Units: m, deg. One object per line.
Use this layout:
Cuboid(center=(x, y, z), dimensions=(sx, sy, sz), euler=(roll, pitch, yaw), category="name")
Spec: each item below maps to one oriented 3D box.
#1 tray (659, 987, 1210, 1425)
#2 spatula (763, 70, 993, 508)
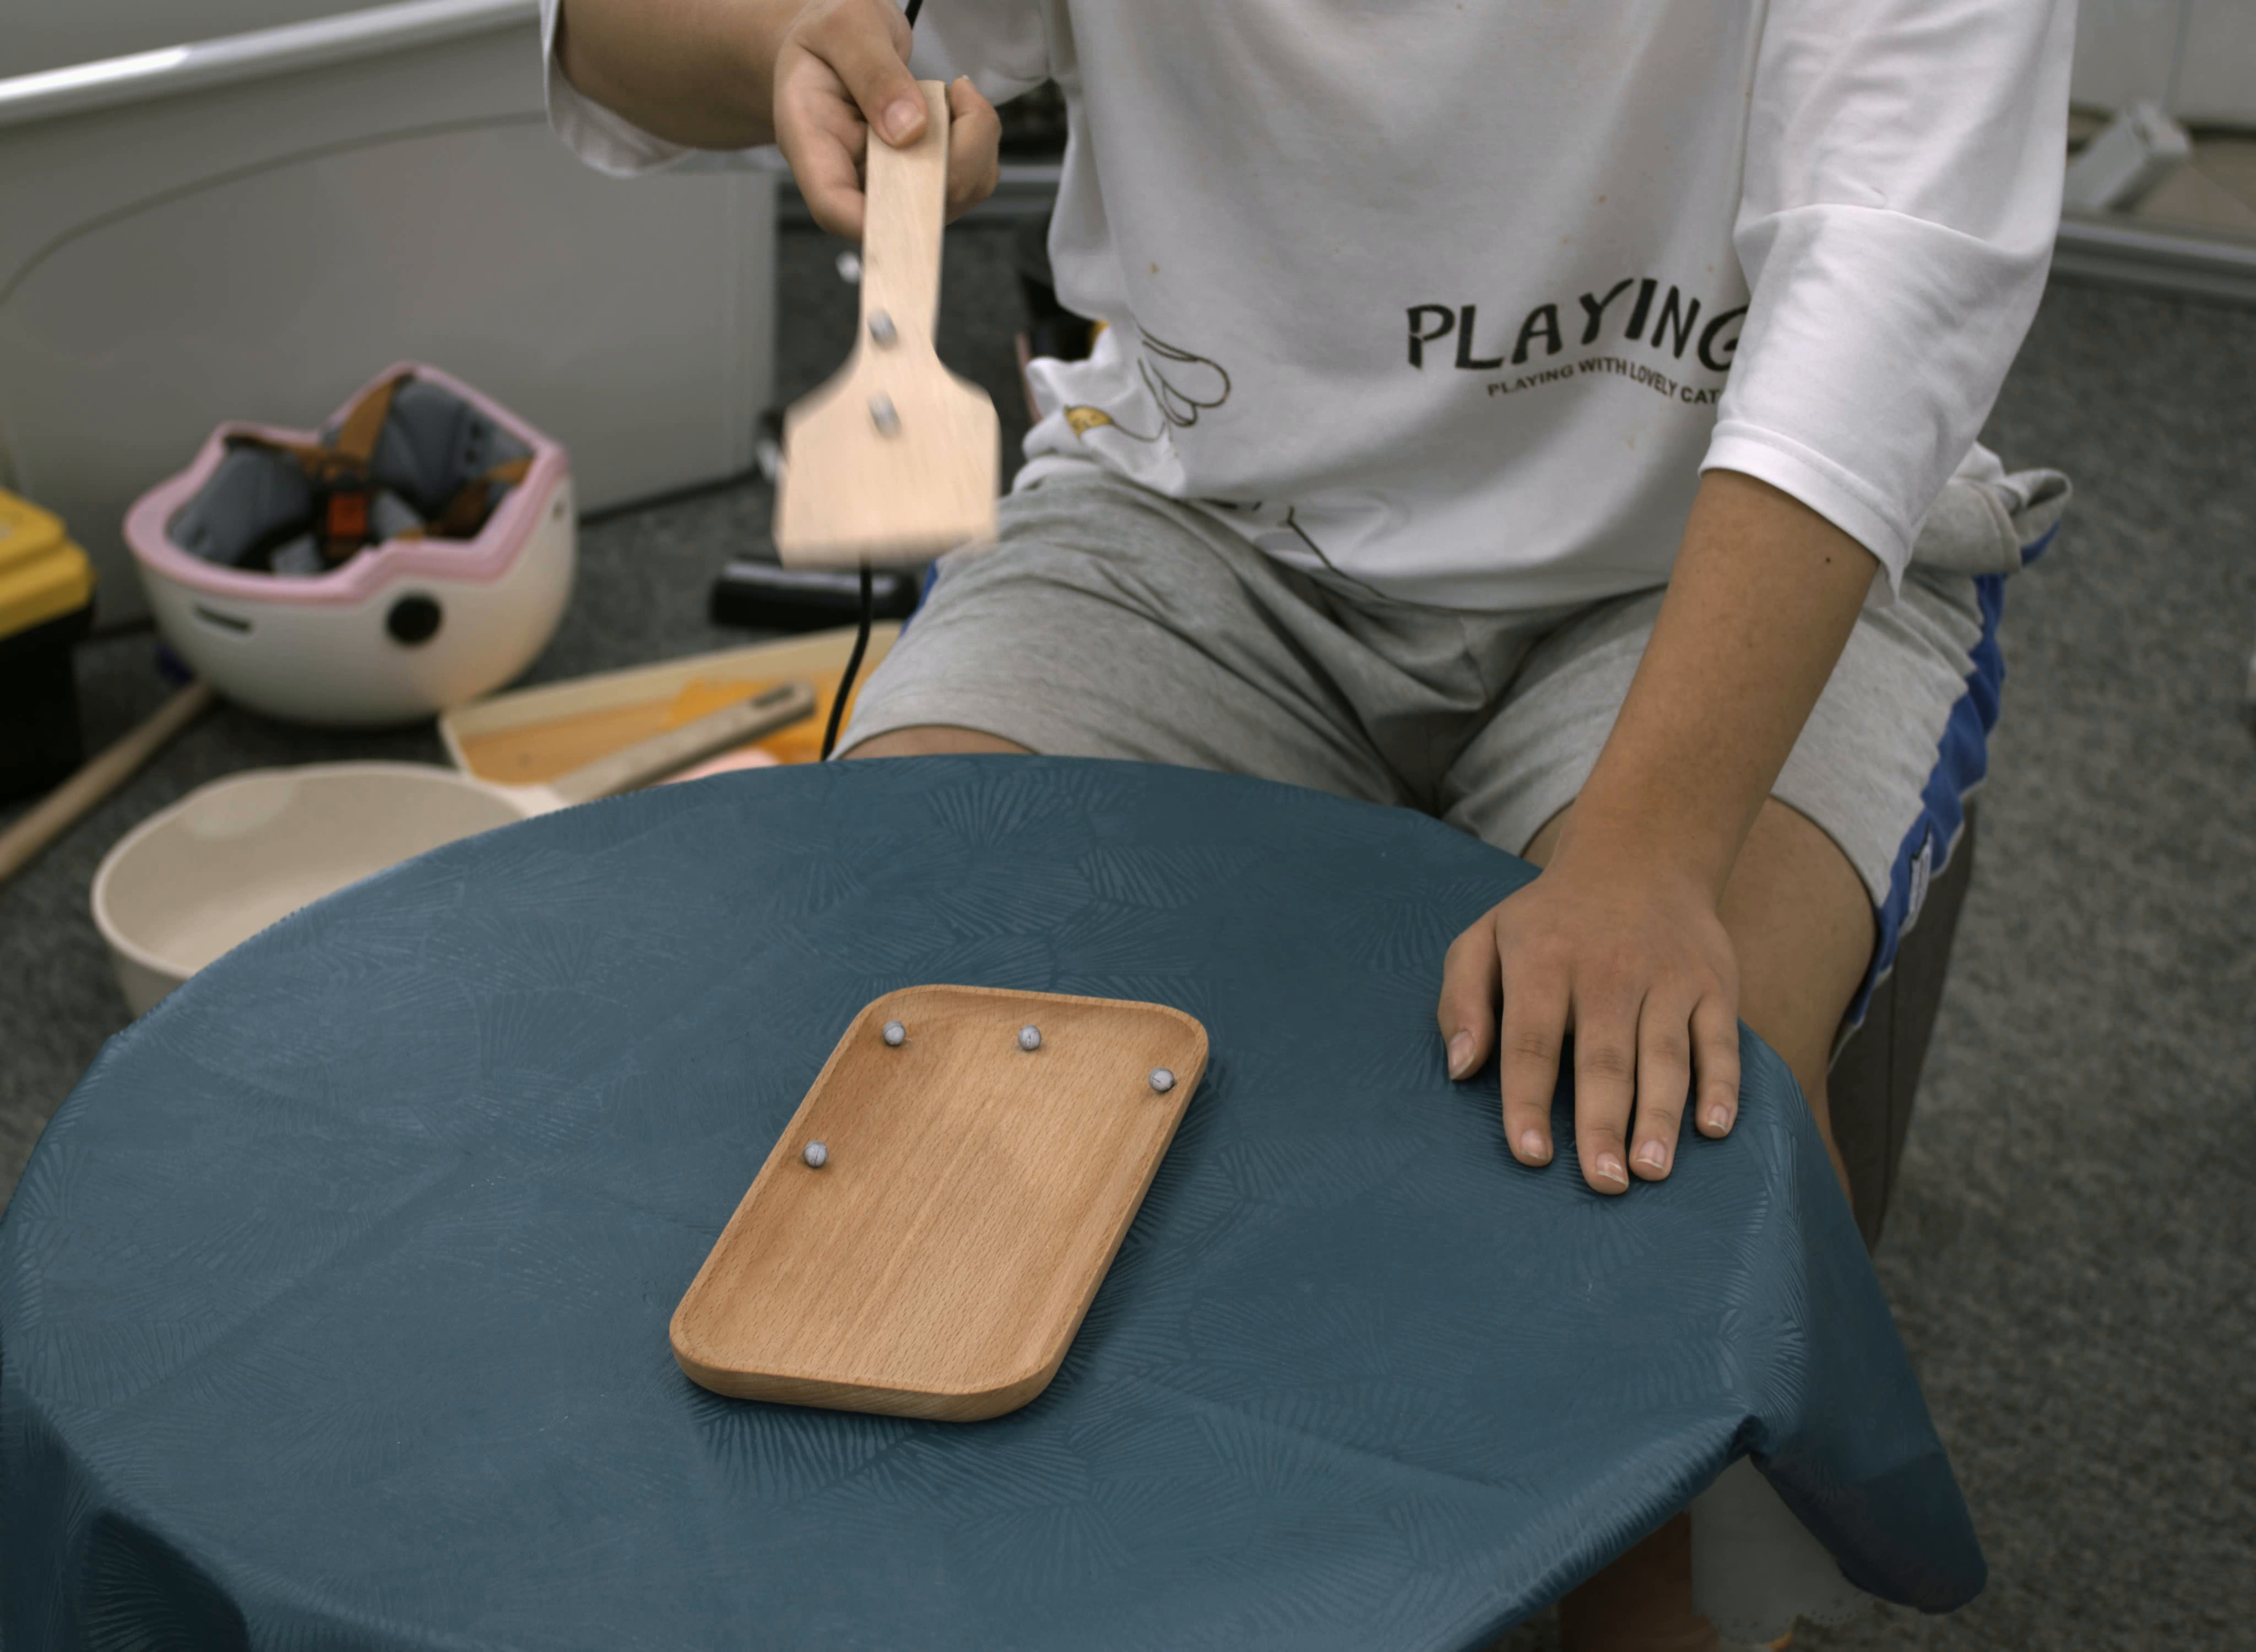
Cuboid(center=(-0.060, 0.122, 1.851), dimensions=(0.129, 0.022, 0.255), euler=(3, 28, 16), category="tray")
Cuboid(center=(-0.078, -0.182, 1.873), dimensions=(0.072, 0.010, 0.298), euler=(-4, 34, 3), category="spatula")
